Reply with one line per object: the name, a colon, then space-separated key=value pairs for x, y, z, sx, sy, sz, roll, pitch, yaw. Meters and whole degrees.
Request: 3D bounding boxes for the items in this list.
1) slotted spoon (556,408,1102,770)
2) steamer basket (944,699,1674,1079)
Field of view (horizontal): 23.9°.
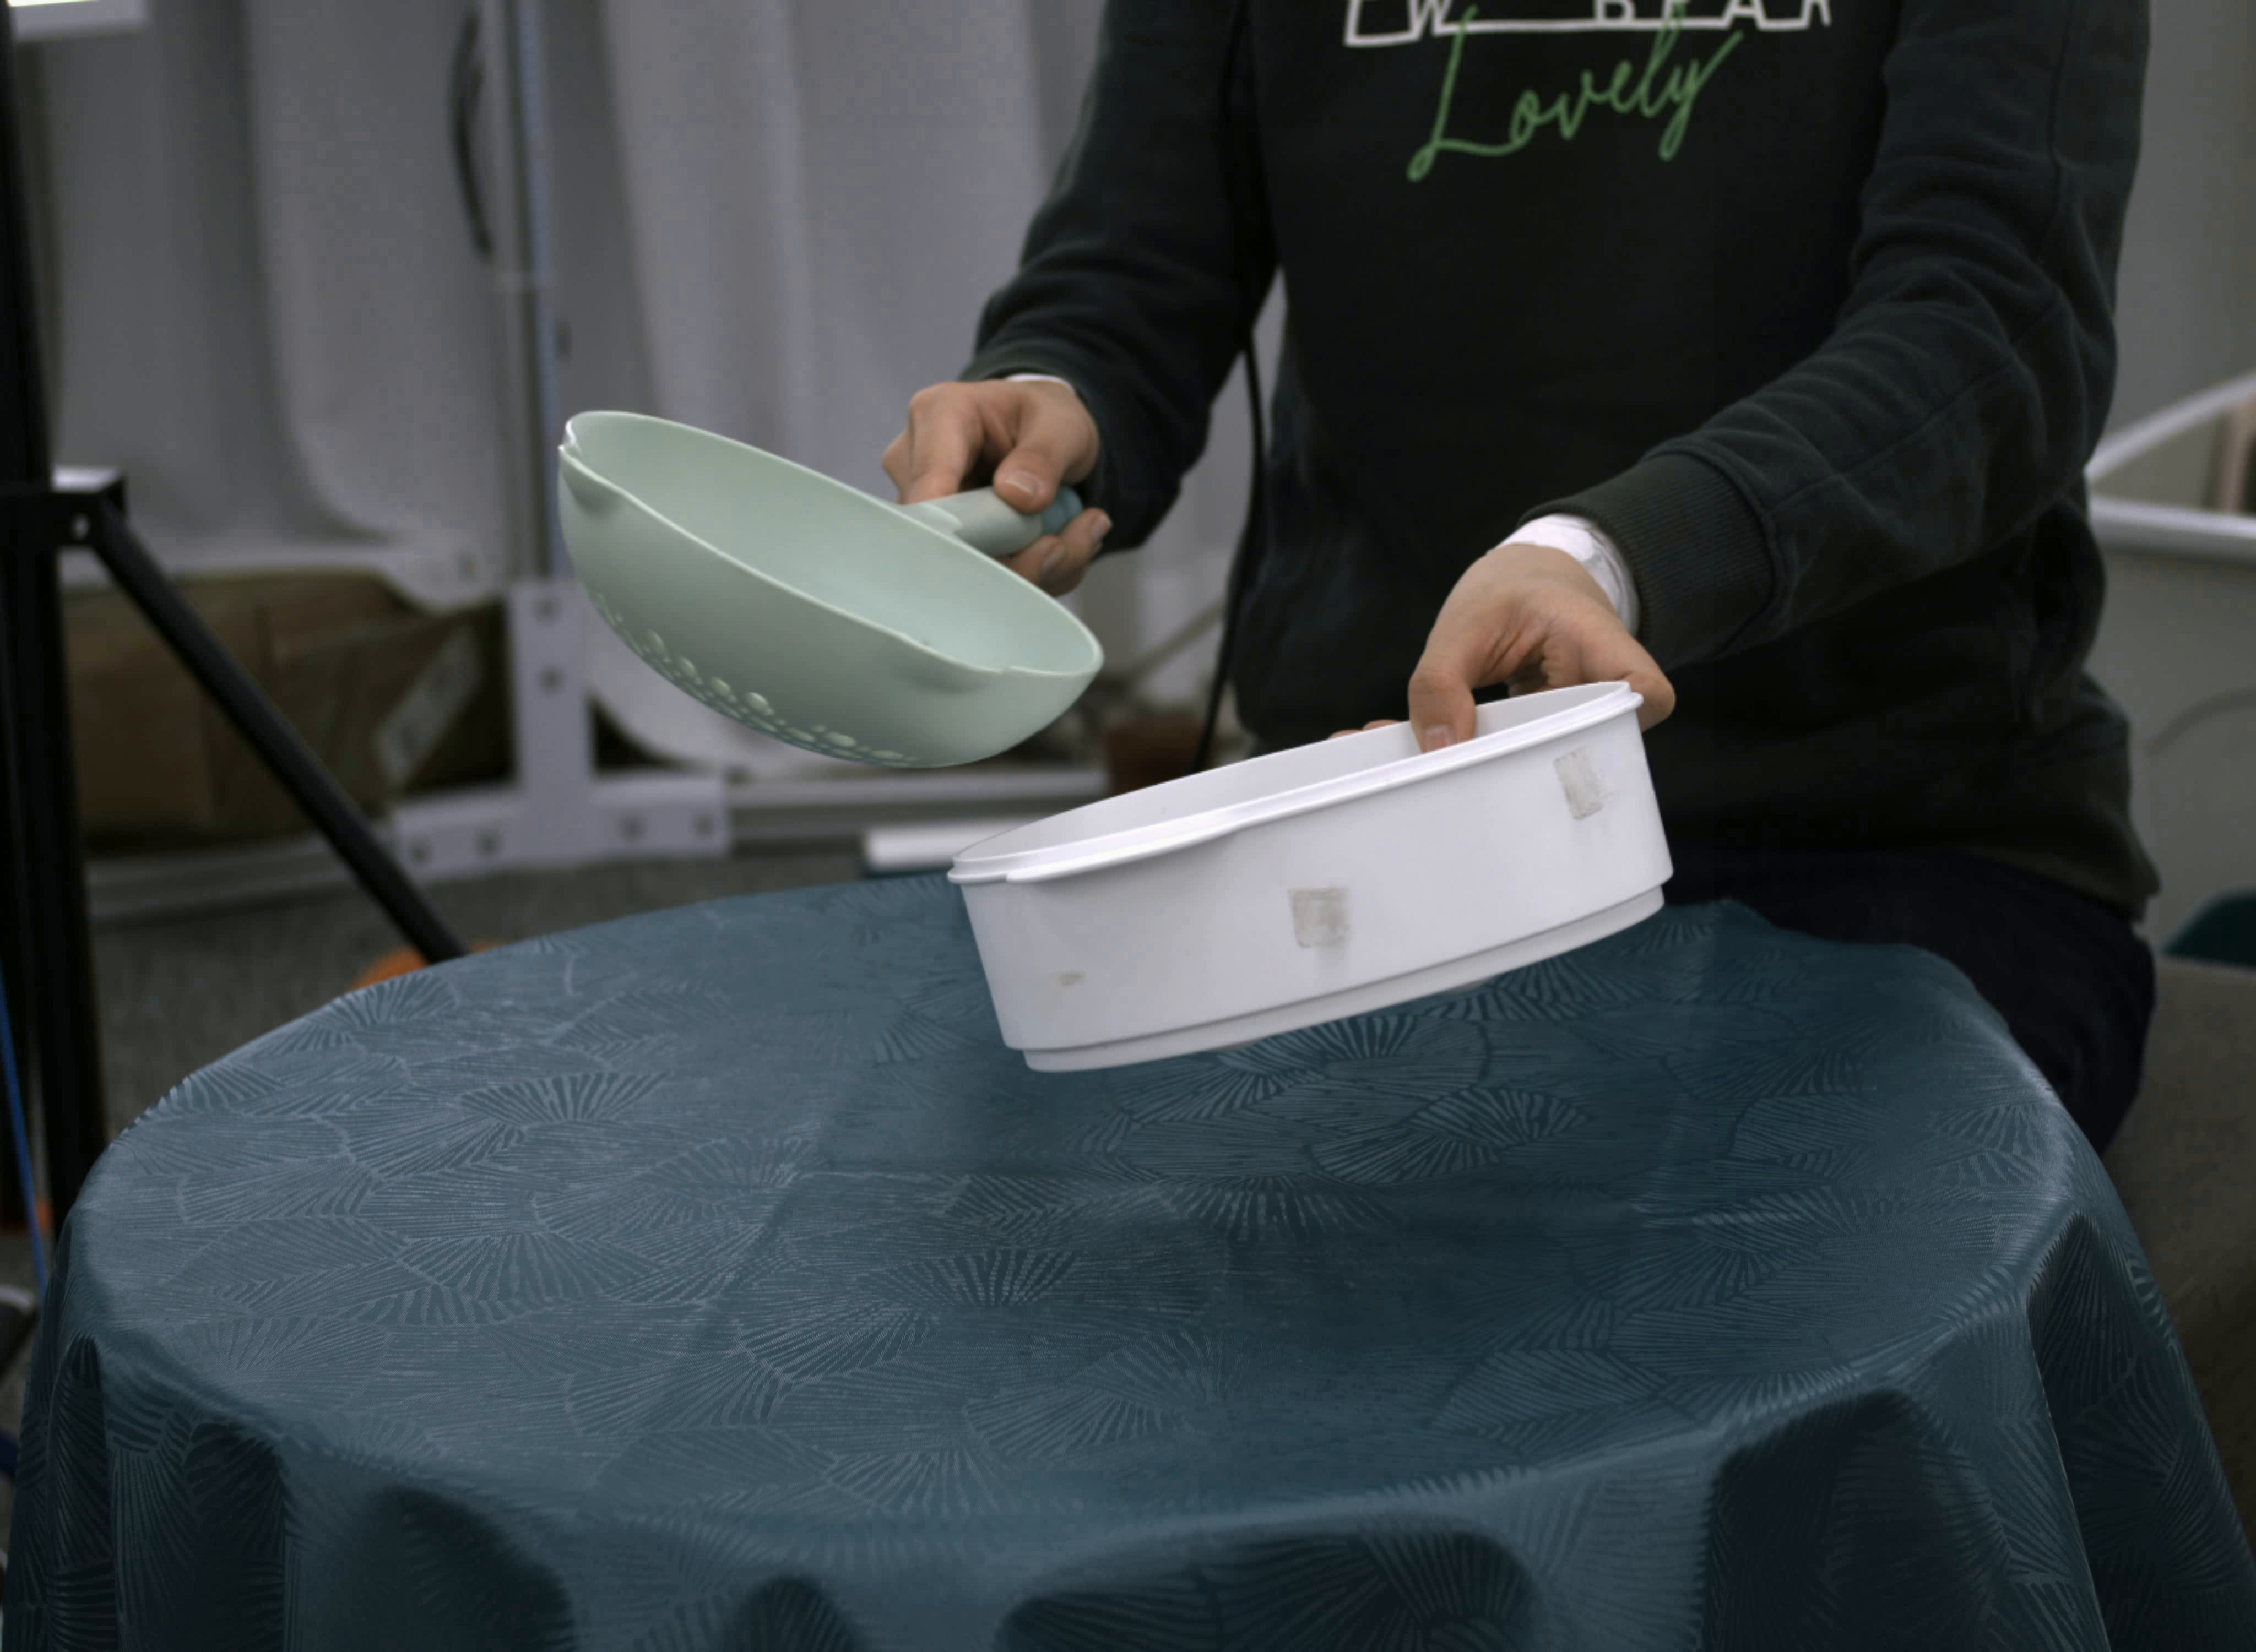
slotted spoon: x=-0.066 y=-0.083 z=1.628 sx=0.170 sy=0.075 sz=0.355 roll=29 pitch=21 yaw=10
steamer basket: x=0.053 y=0.018 z=1.476 sx=0.205 sy=0.069 sz=0.226 roll=-9 pitch=7 yaw=31
